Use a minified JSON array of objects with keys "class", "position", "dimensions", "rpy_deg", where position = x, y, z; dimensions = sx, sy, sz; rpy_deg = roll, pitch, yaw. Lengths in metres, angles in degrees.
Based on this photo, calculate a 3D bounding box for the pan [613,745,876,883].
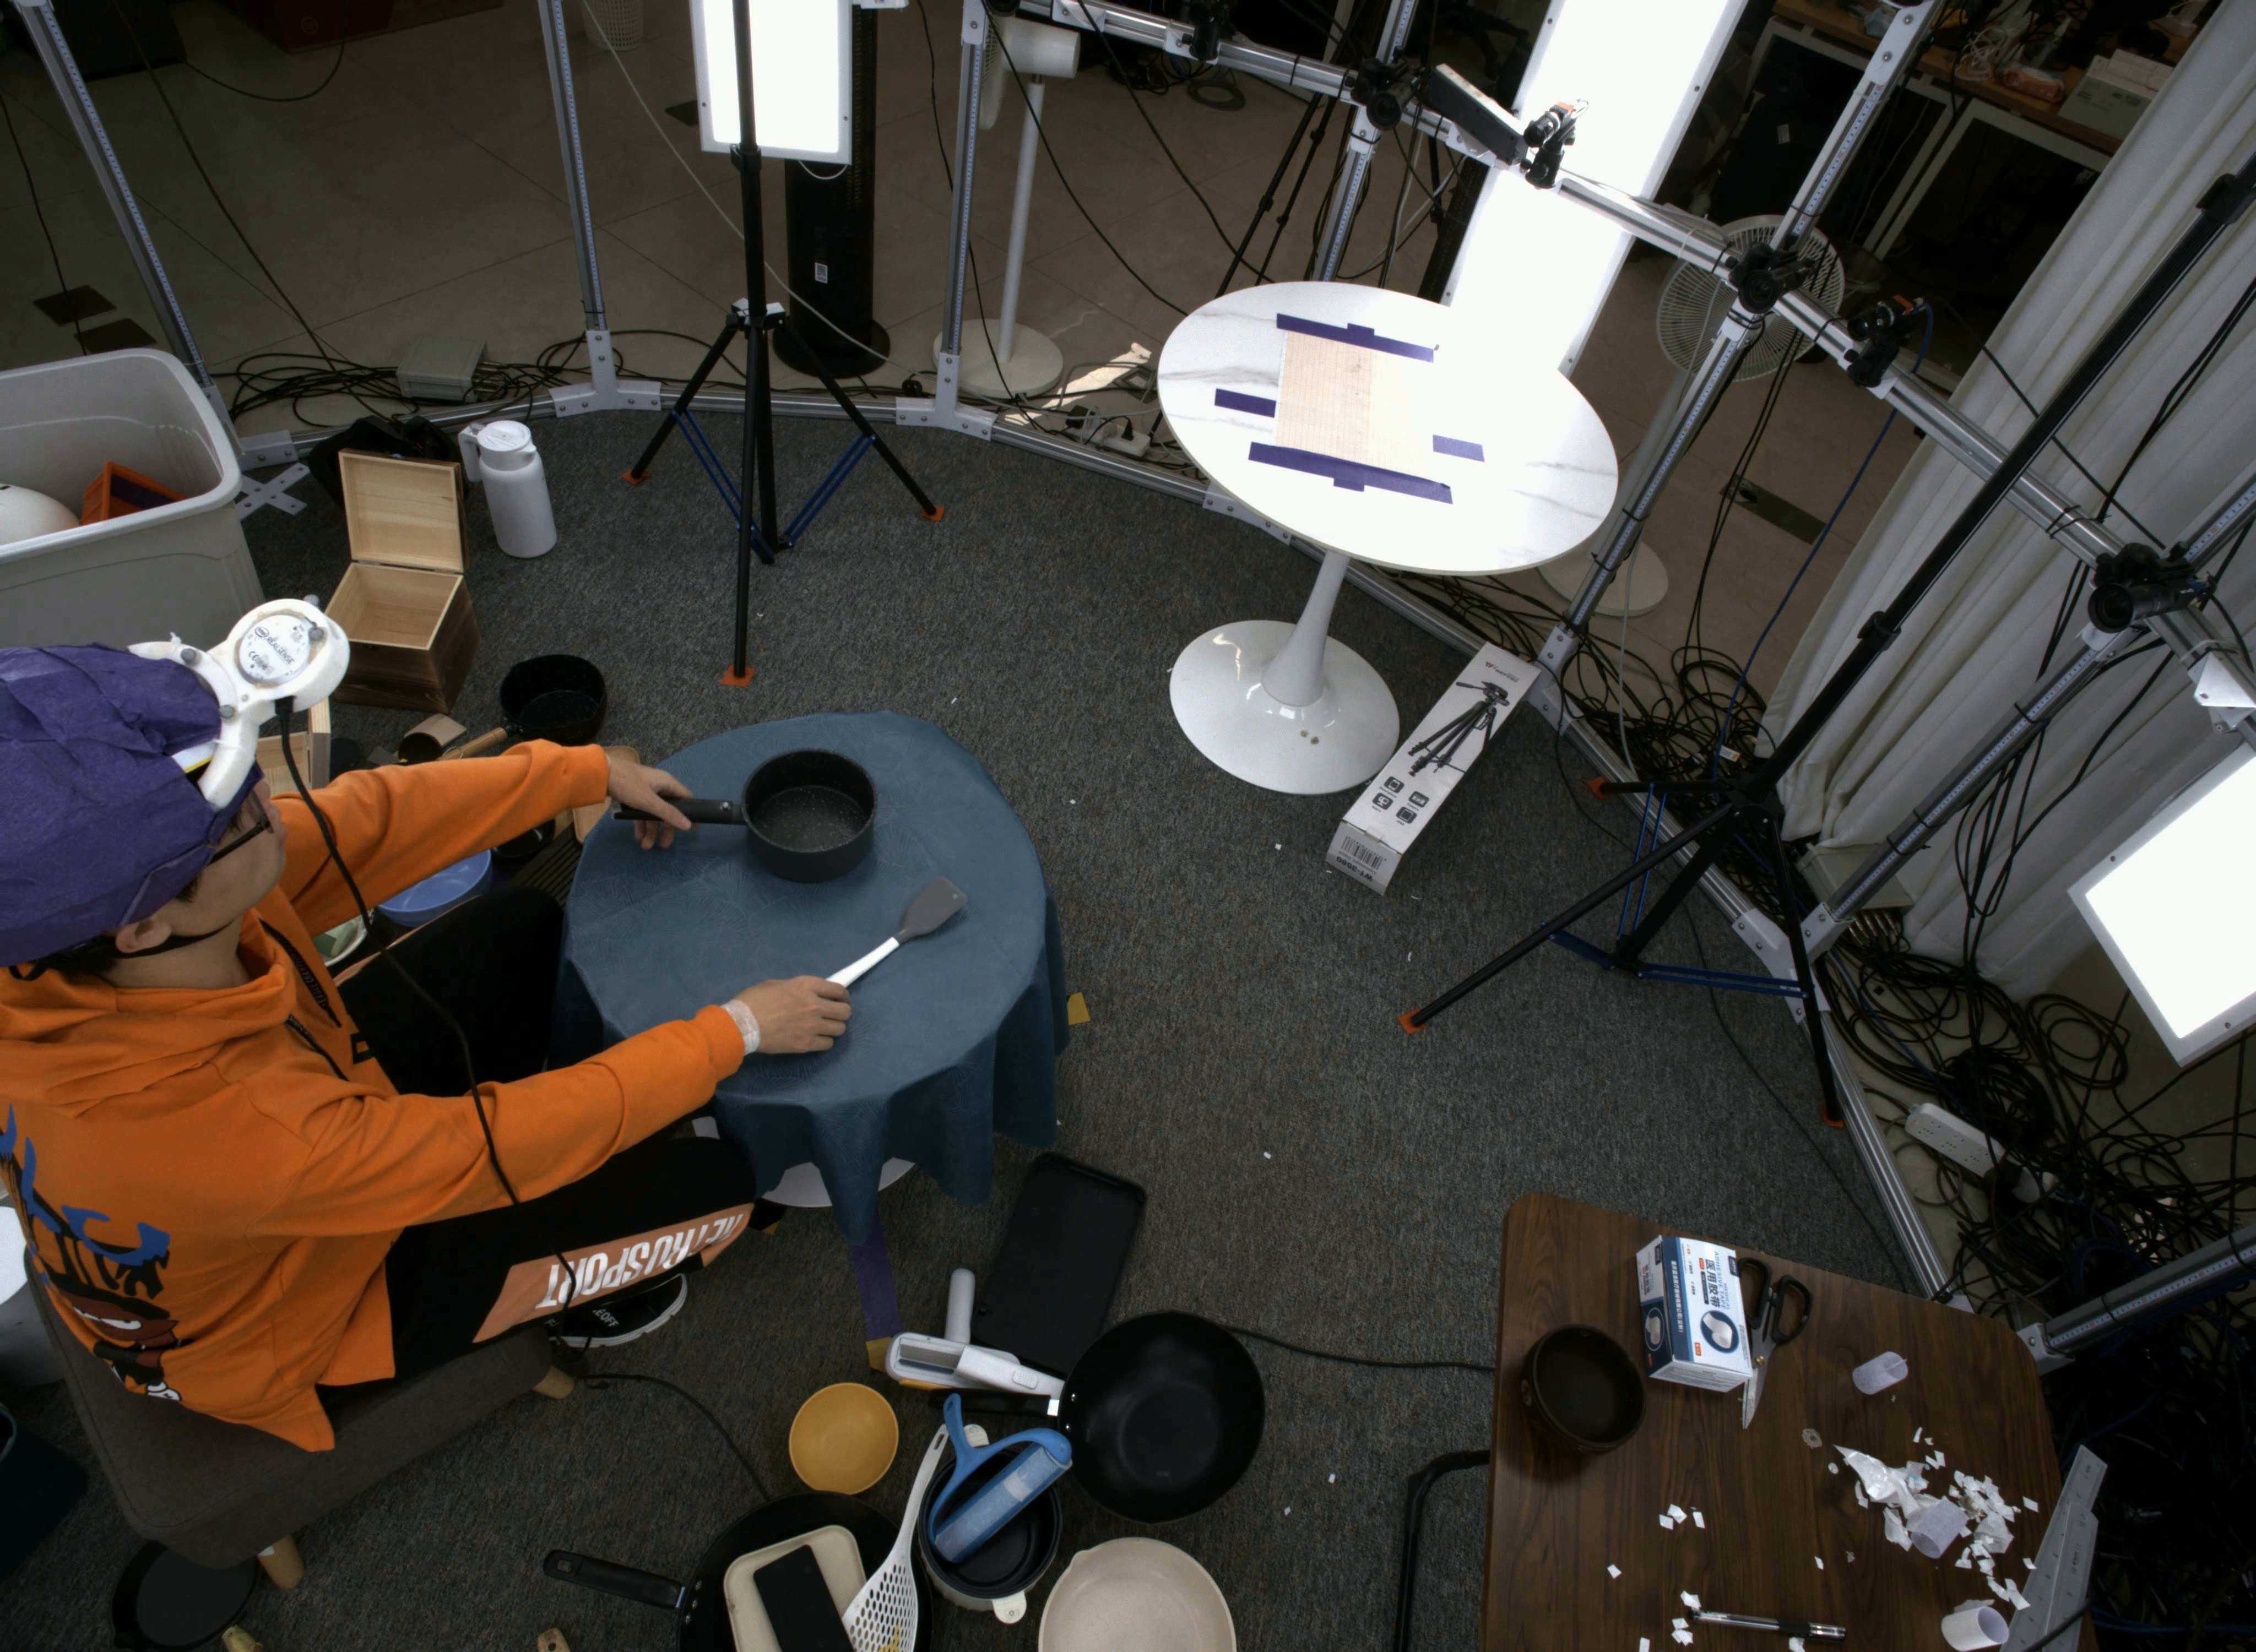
[{"class":"pan","position":[-0.489,-0.015,1.653],"dimensions":[0.330,0.088,0.168],"rpy_deg":[0,53,-17]}]

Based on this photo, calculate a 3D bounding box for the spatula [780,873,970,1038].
[{"class":"spatula","position":[-0.311,0.156,1.606],"dimensions":[0.057,0.033,0.288],"rpy_deg":[36,54,18]}]
